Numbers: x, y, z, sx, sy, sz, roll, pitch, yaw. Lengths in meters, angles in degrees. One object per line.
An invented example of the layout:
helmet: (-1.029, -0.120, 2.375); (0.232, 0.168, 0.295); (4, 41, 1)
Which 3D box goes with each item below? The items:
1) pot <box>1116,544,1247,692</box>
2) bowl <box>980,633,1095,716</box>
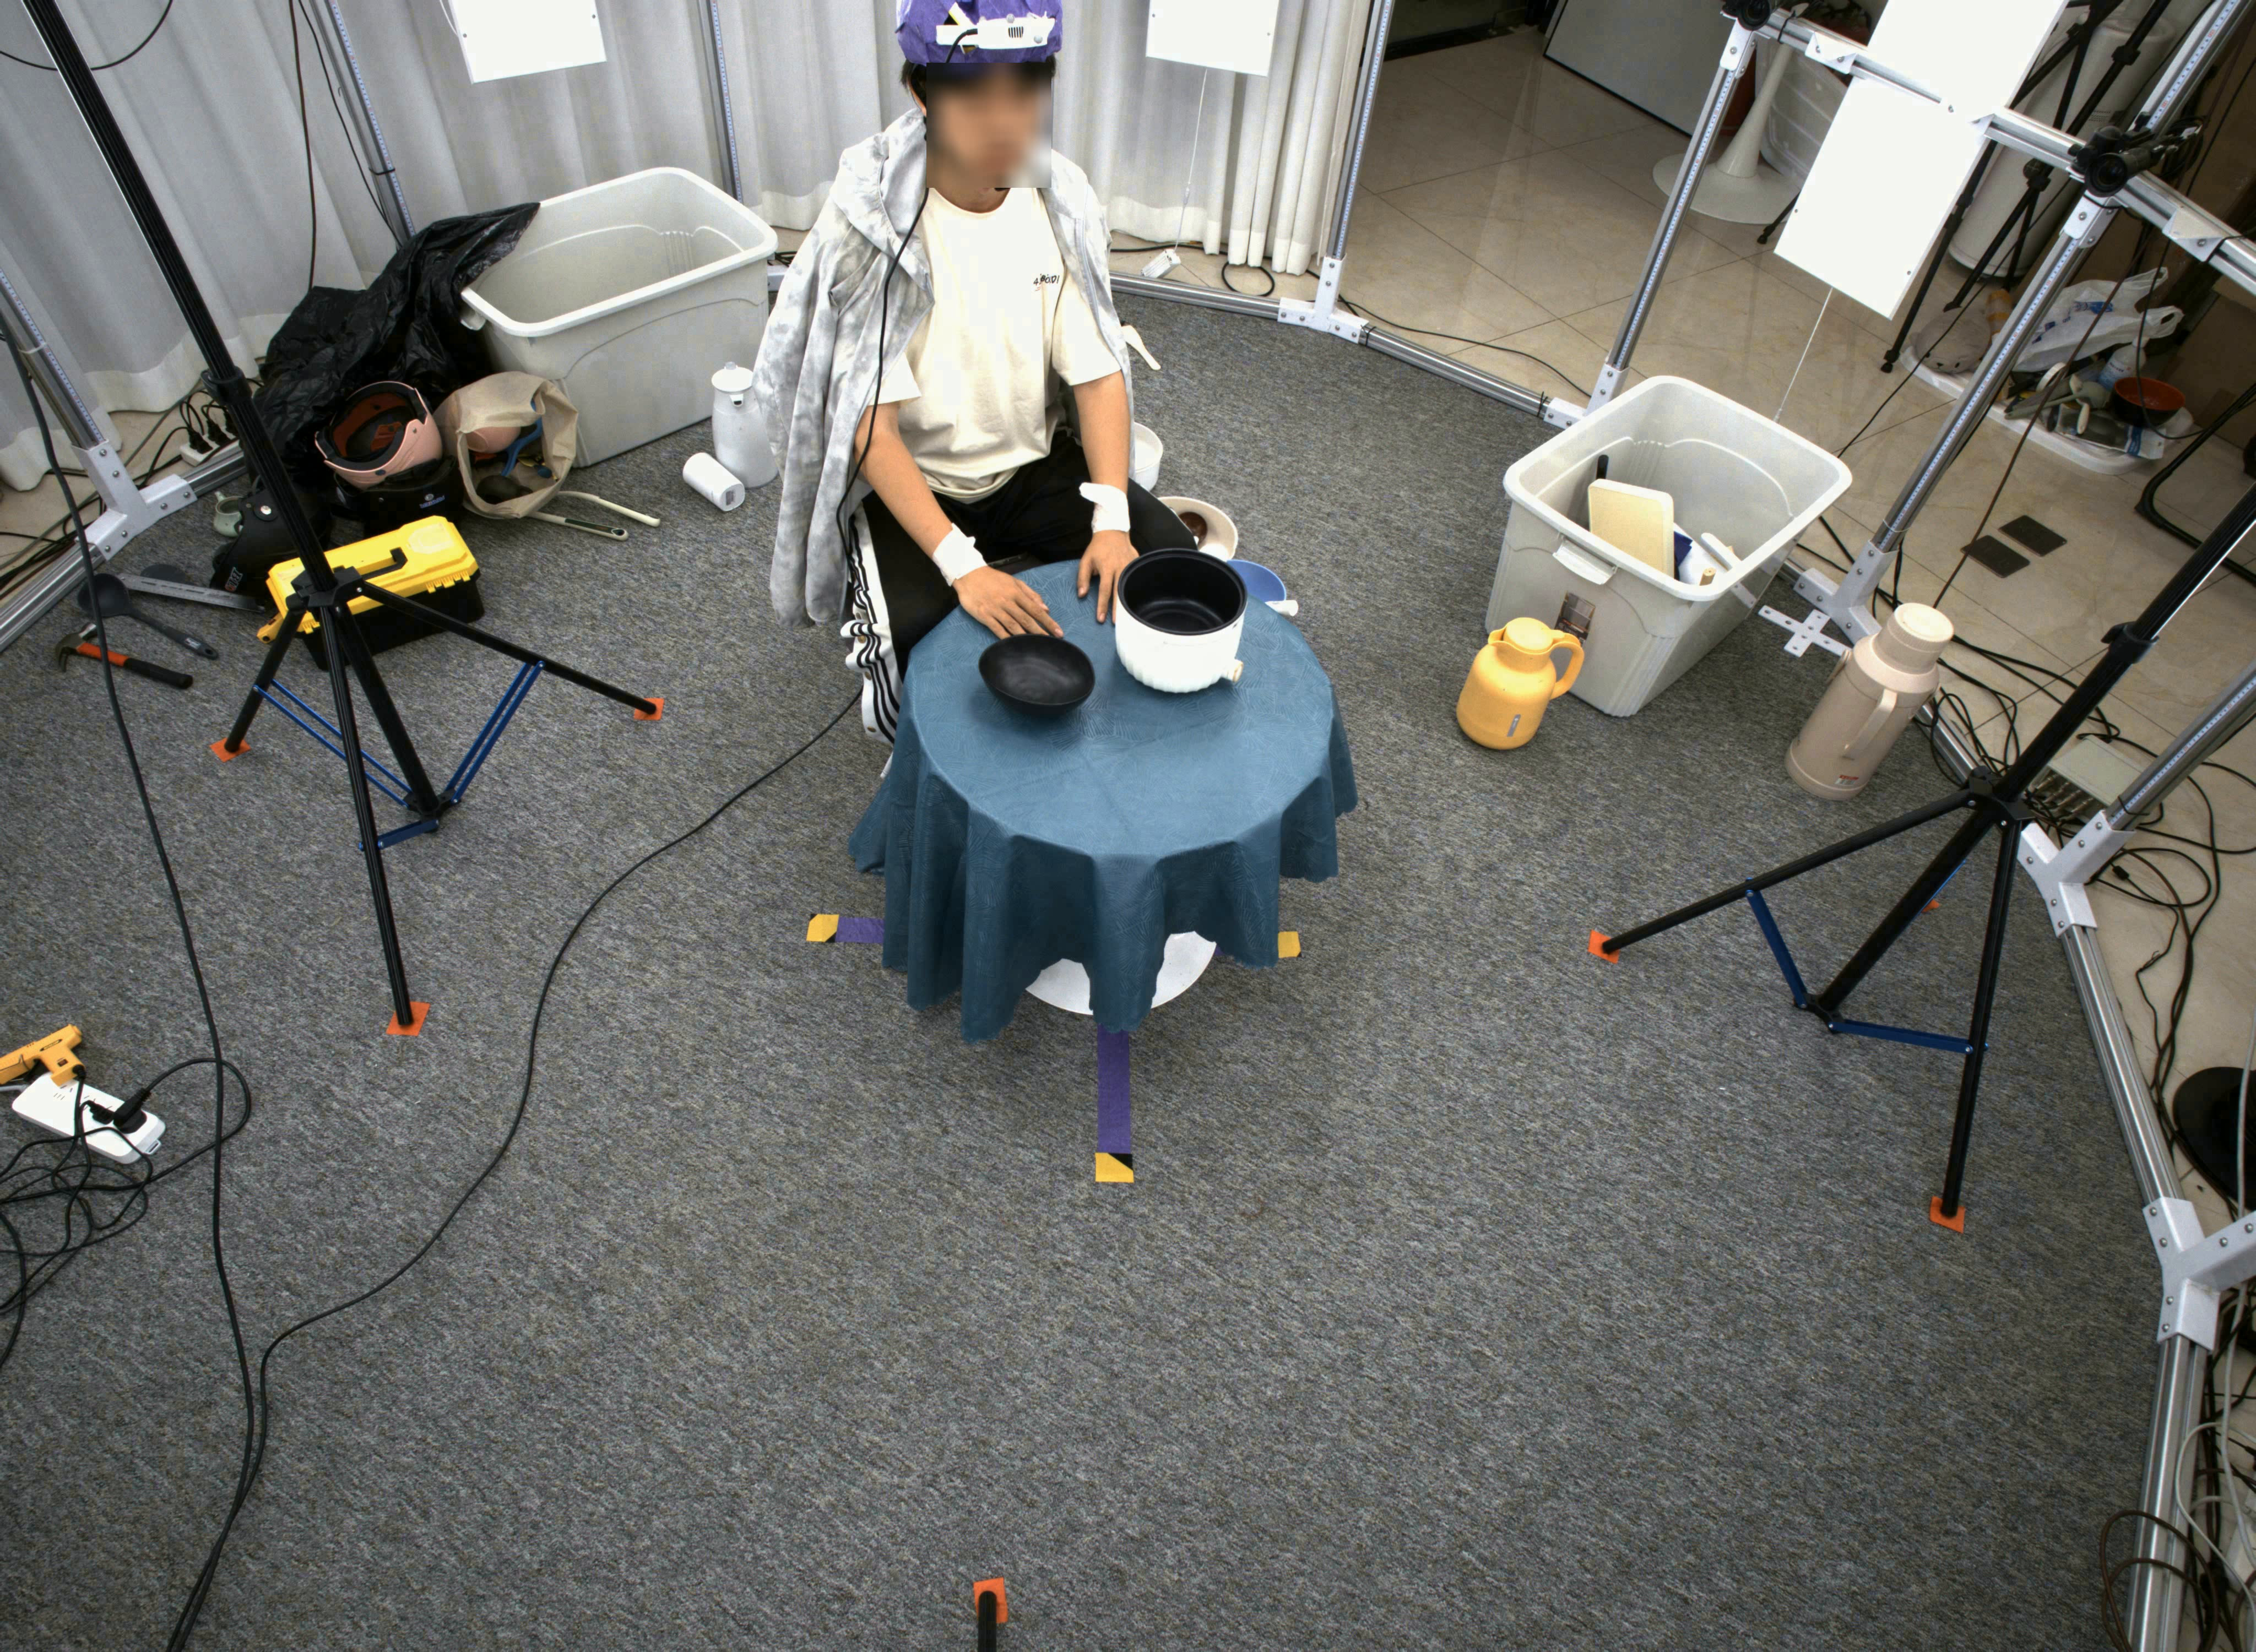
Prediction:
pot: (0.077, -0.284, 1.824); (0.192, 0.139, 0.244); (21, 51, 18)
bowl: (-0.127, -0.199, 1.783); (0.171, 0.065, 0.139); (23, 50, 17)
